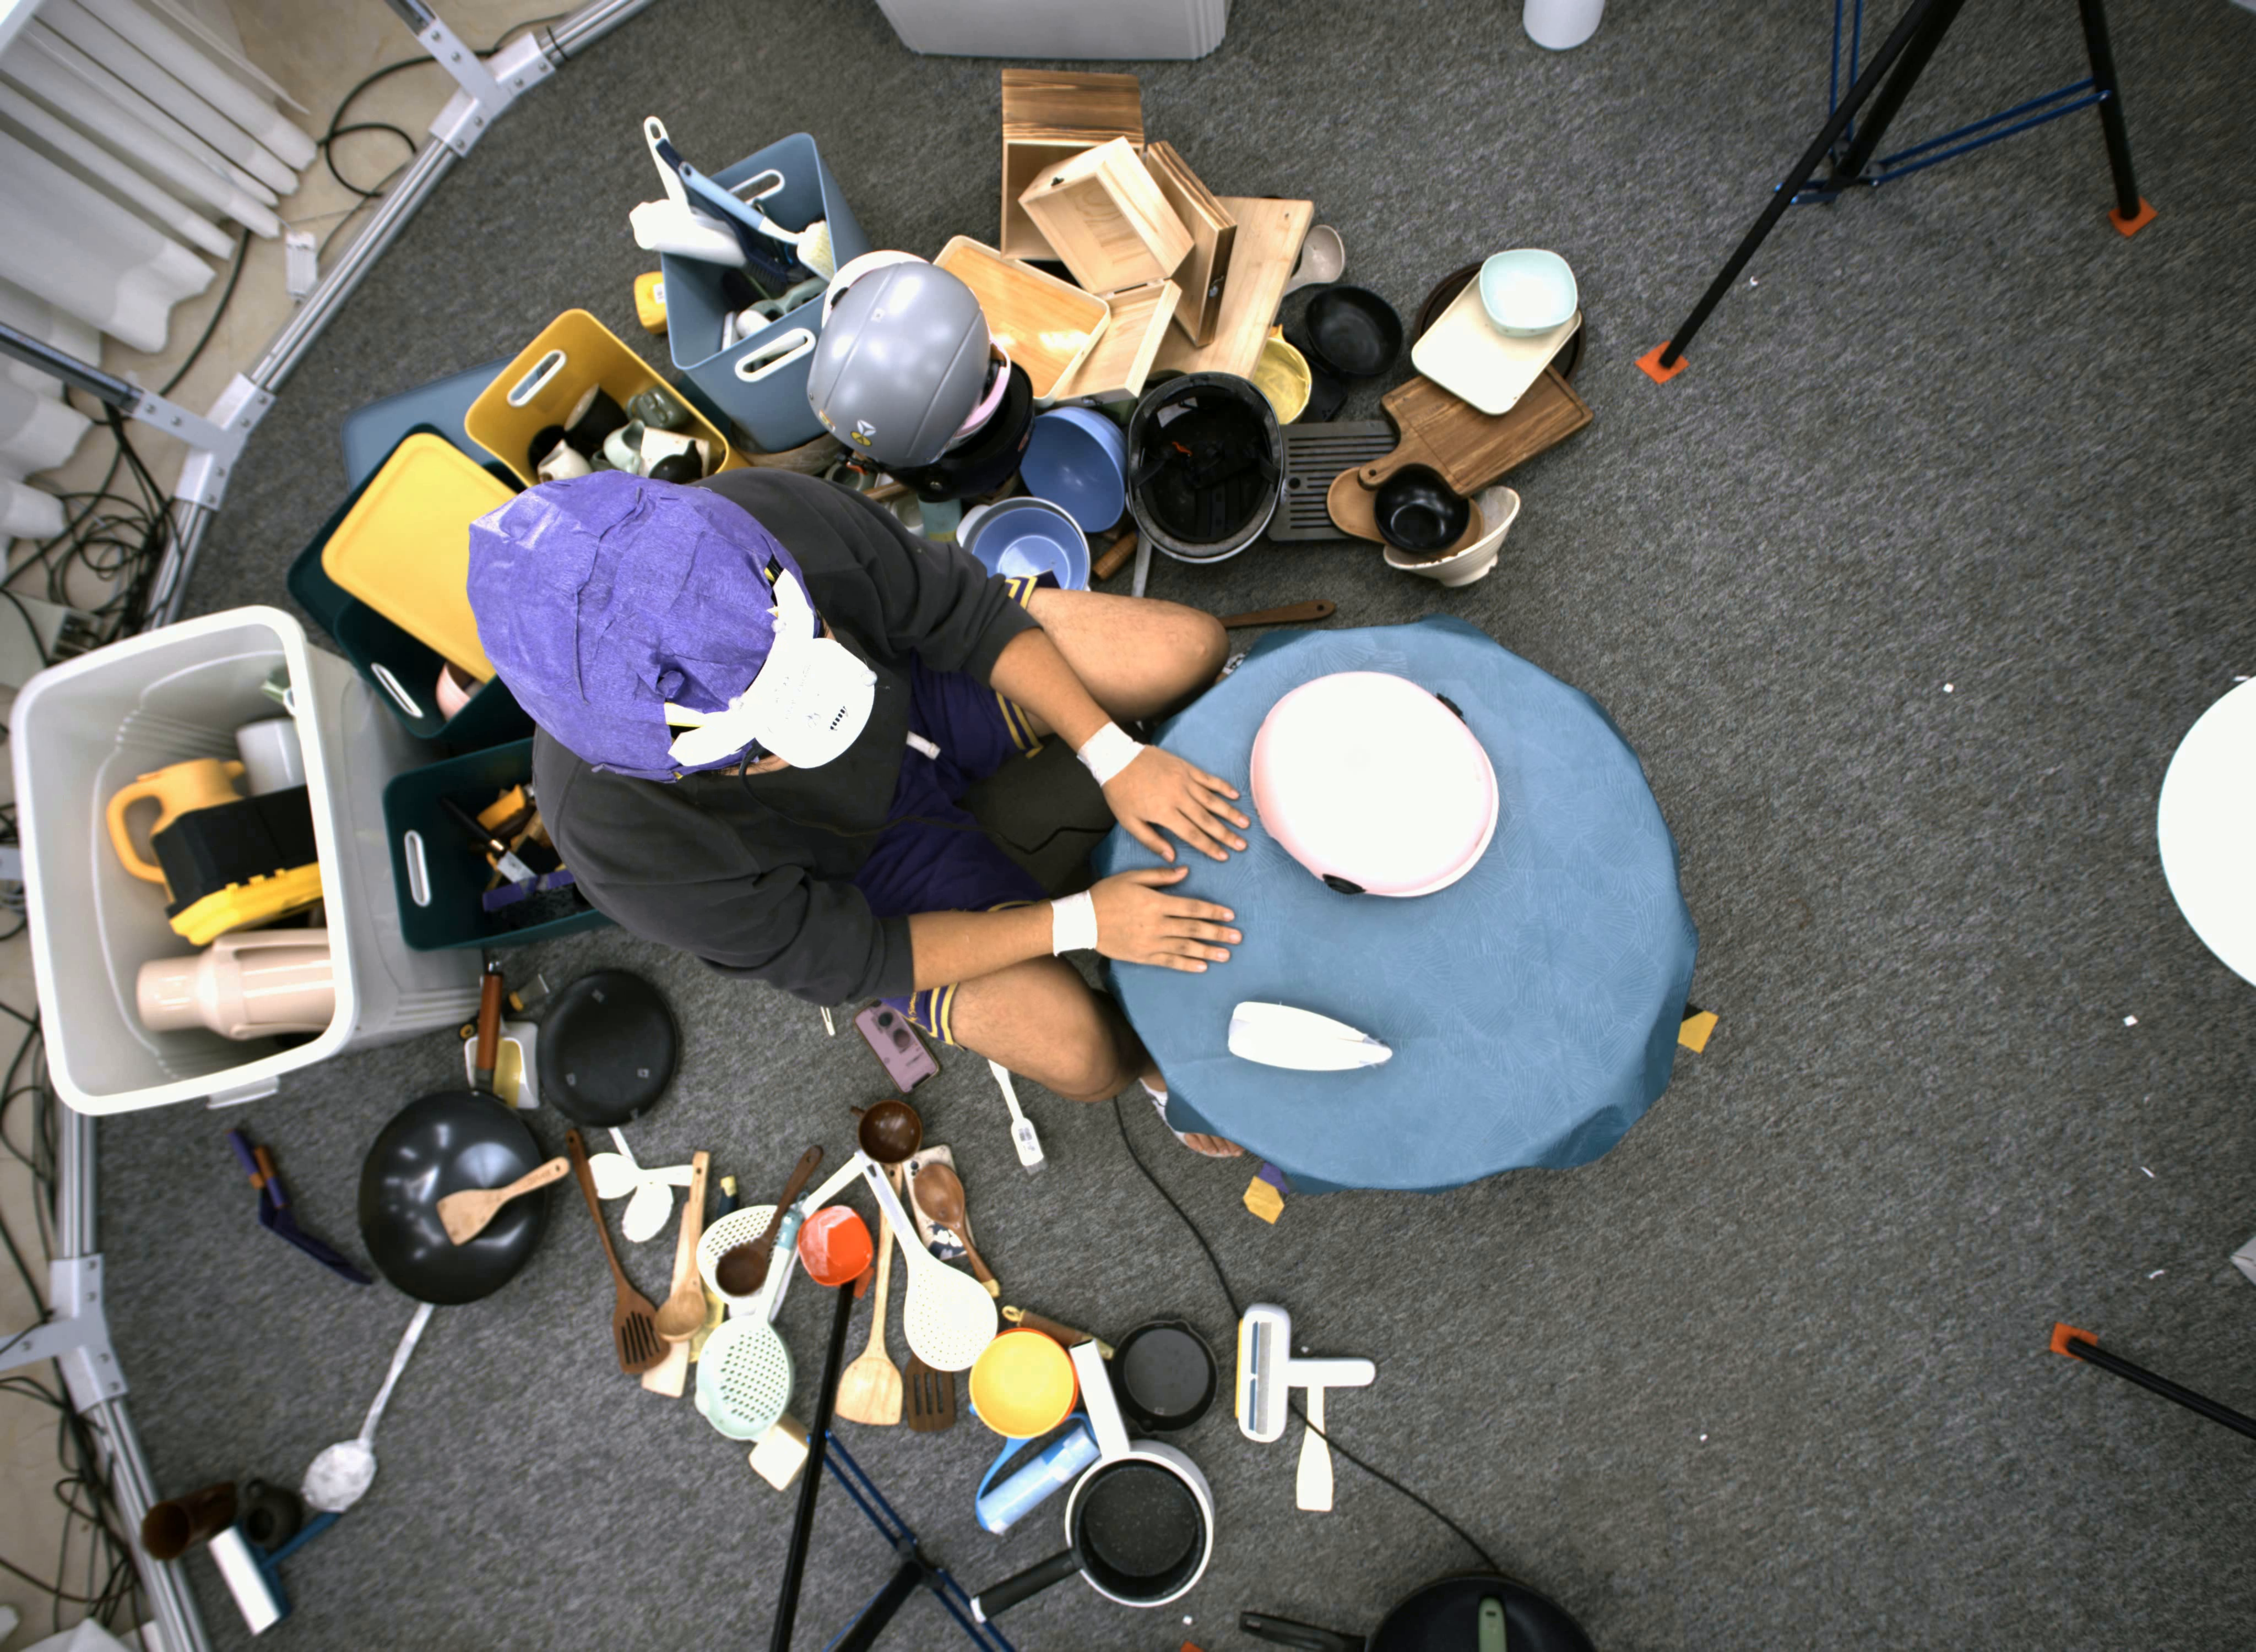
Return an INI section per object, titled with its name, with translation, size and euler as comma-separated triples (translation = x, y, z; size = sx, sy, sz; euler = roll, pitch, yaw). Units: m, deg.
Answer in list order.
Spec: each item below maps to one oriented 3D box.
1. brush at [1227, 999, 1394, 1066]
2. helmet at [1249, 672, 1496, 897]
[brush]
translation = 0.186, 0.217, 1.421
size = 0.176, 0.094, 0.061
euler = 10, 88, 9
[helmet]
translation = 0.251, -0.048, 1.393
size = 0.265, 0.159, 0.234
euler = 31, 91, 7
